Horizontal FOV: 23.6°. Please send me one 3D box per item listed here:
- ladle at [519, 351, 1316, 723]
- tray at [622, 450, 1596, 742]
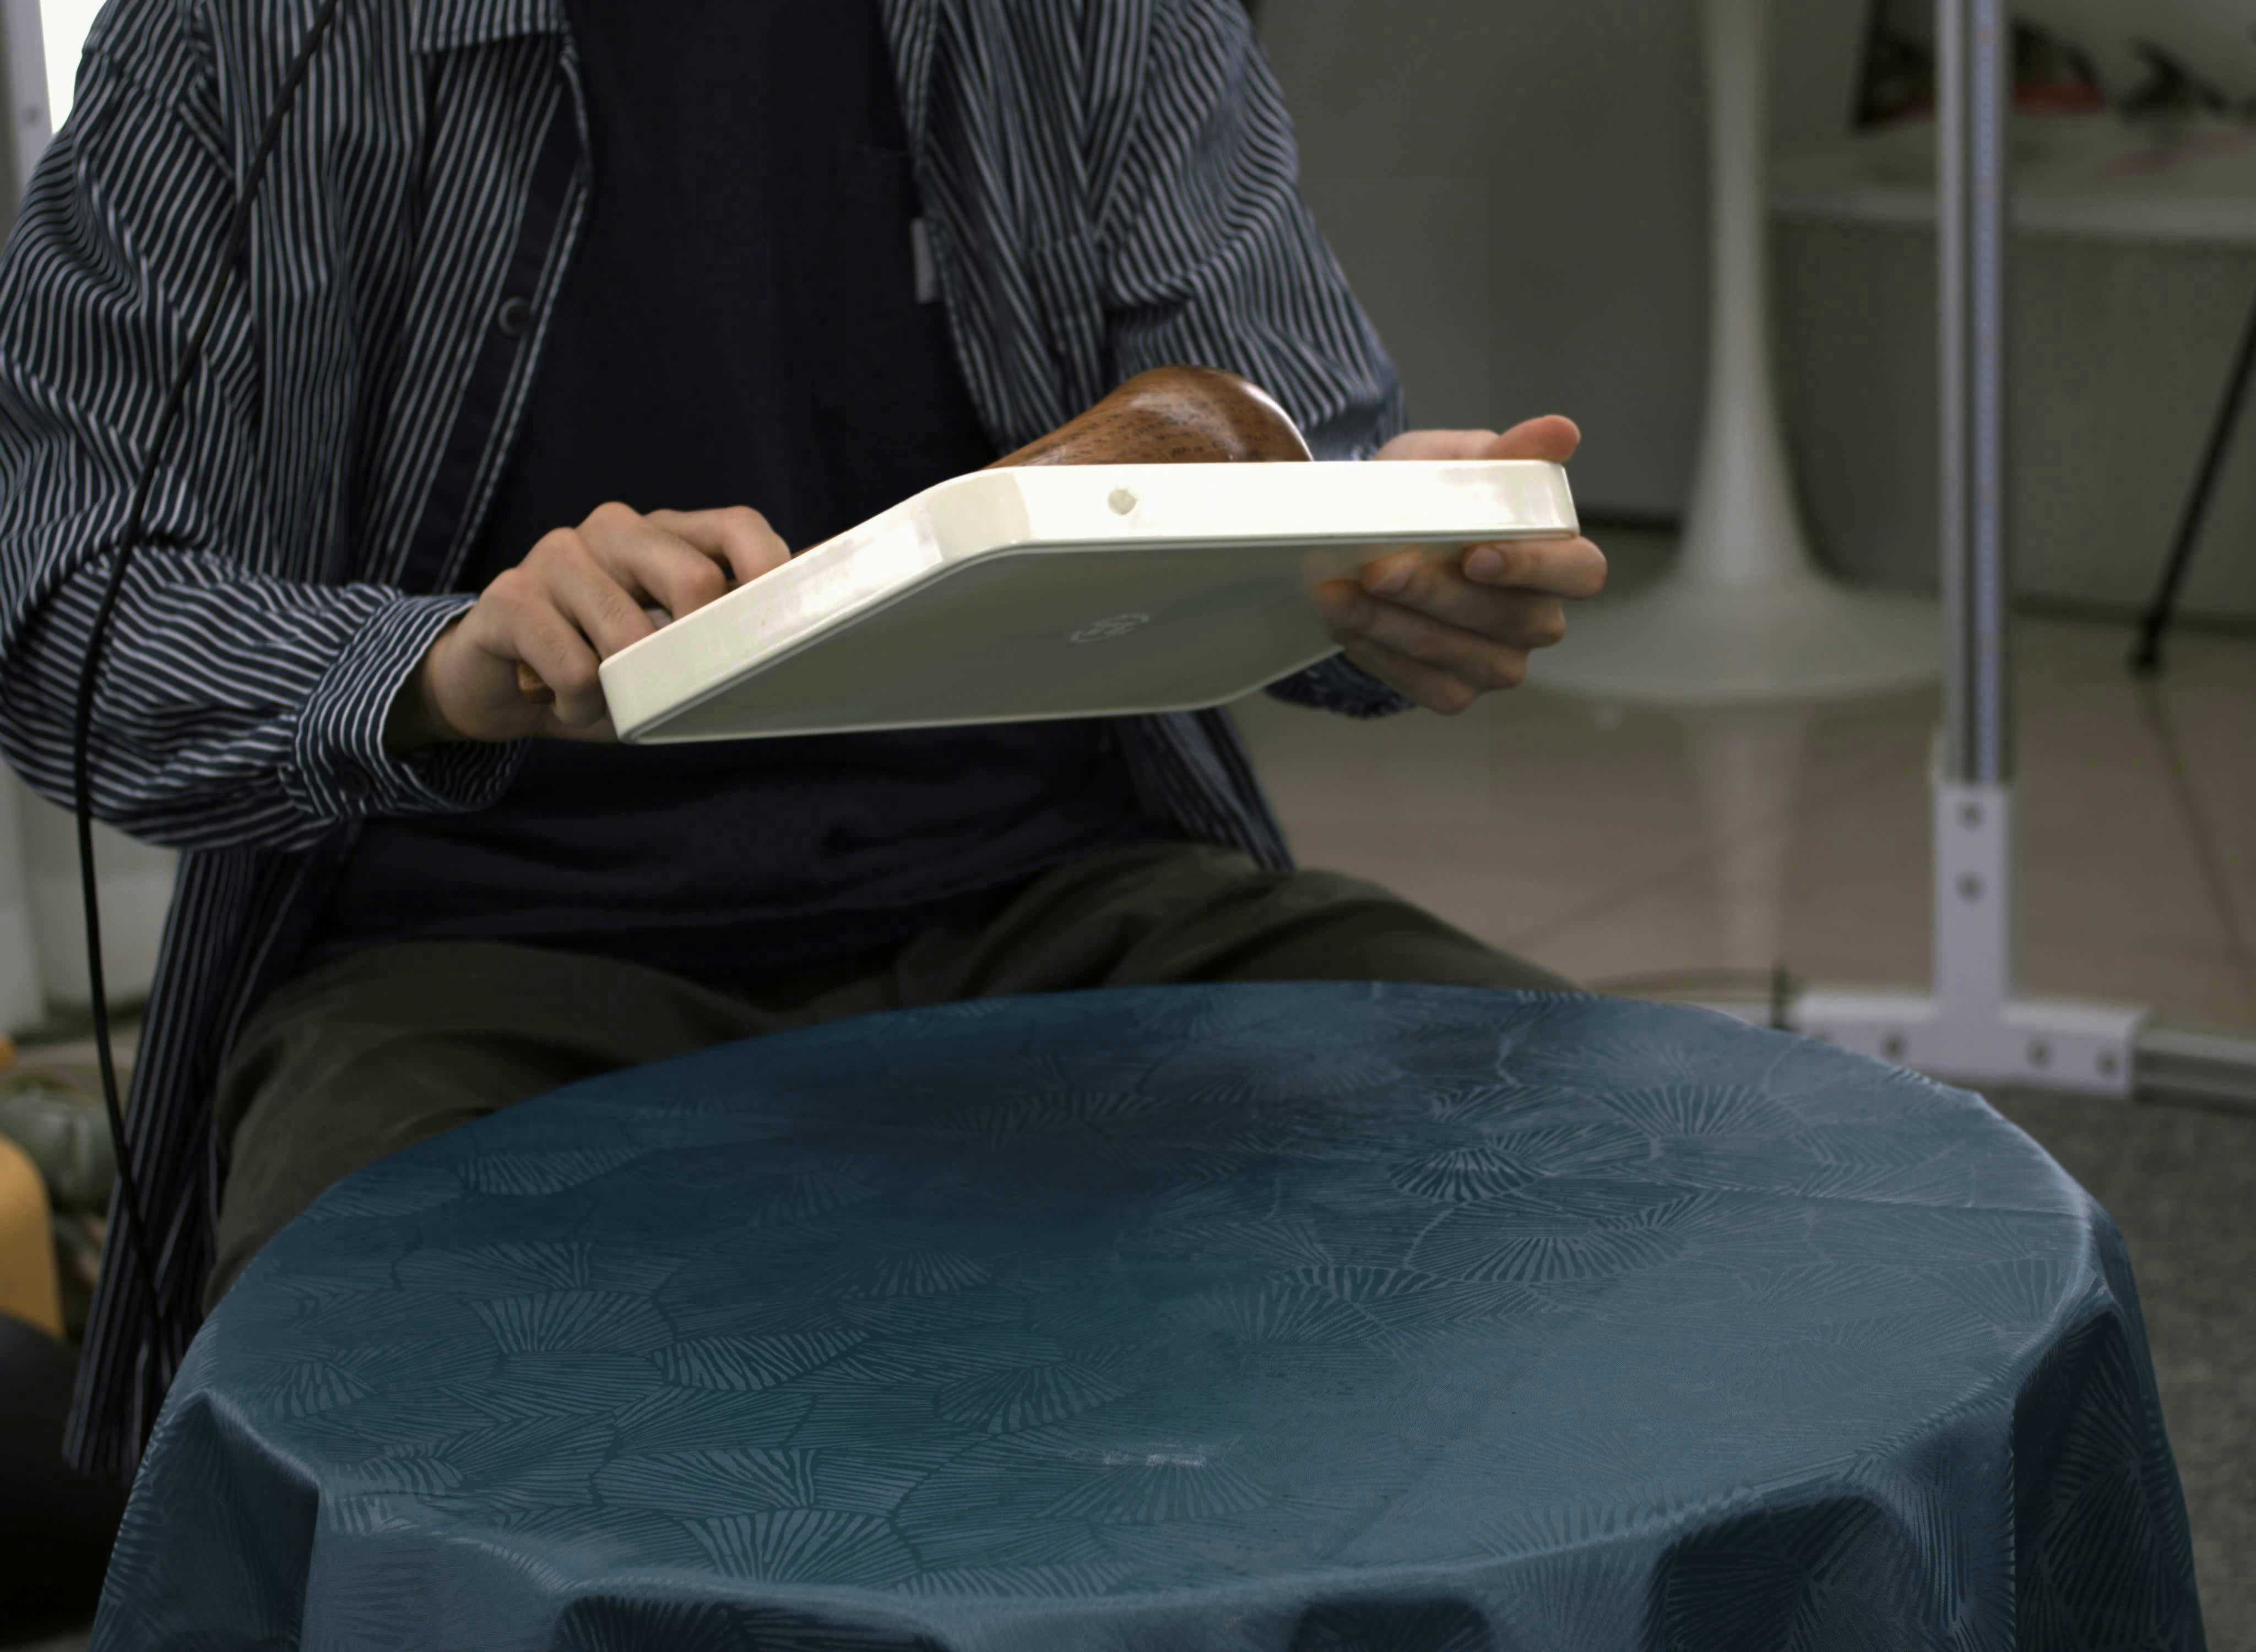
[{"bbox_3d":[-0.068,-0.082,1.795,0.274,0.076,0.083,-23,50,16],"label":"ladle"},{"bbox_3d":[-0.002,-0.075,1.769,0.294,0.028,0.193,-4,-16,-46],"label":"tray"}]
